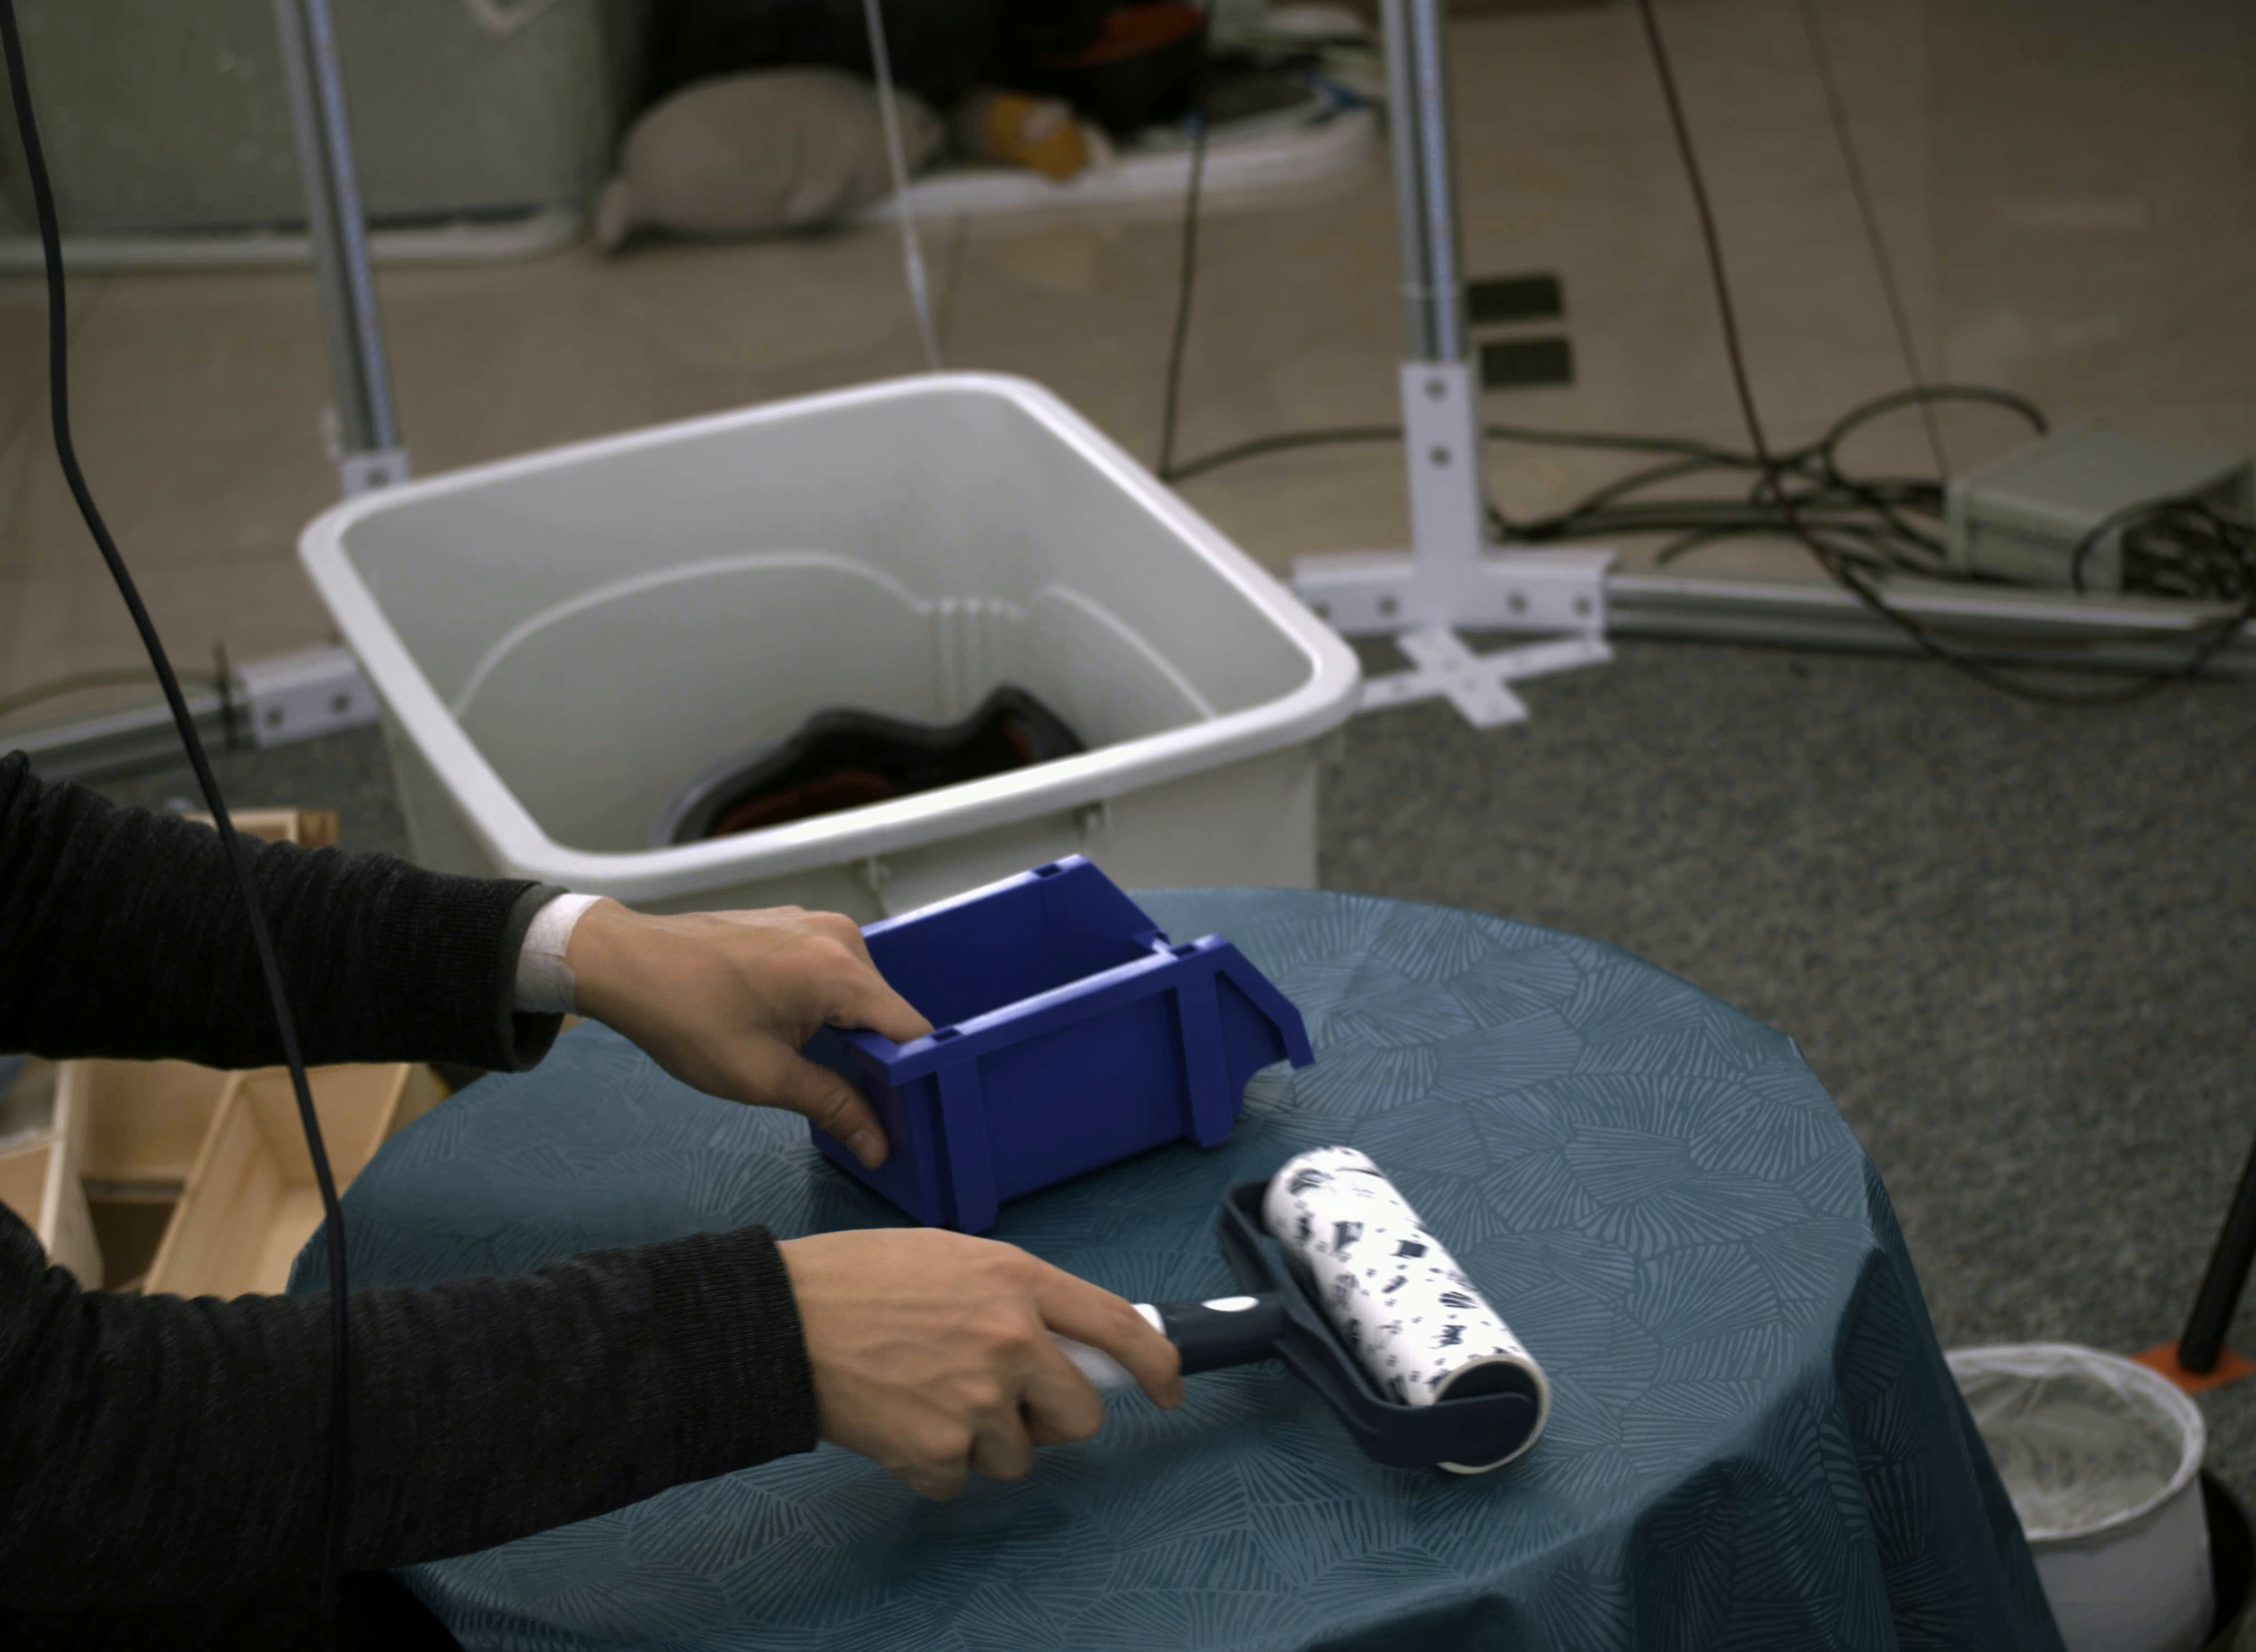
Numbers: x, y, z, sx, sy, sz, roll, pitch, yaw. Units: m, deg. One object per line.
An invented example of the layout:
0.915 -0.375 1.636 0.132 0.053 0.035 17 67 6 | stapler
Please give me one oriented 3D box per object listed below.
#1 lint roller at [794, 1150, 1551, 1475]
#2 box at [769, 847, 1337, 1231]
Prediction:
0.005 0.180 1.968 0.246 0.051 0.174 -6 25 -18 | lint roller
-0.029 0.078 2.186 0.178 0.083 0.123 -21 27 -22 | box
